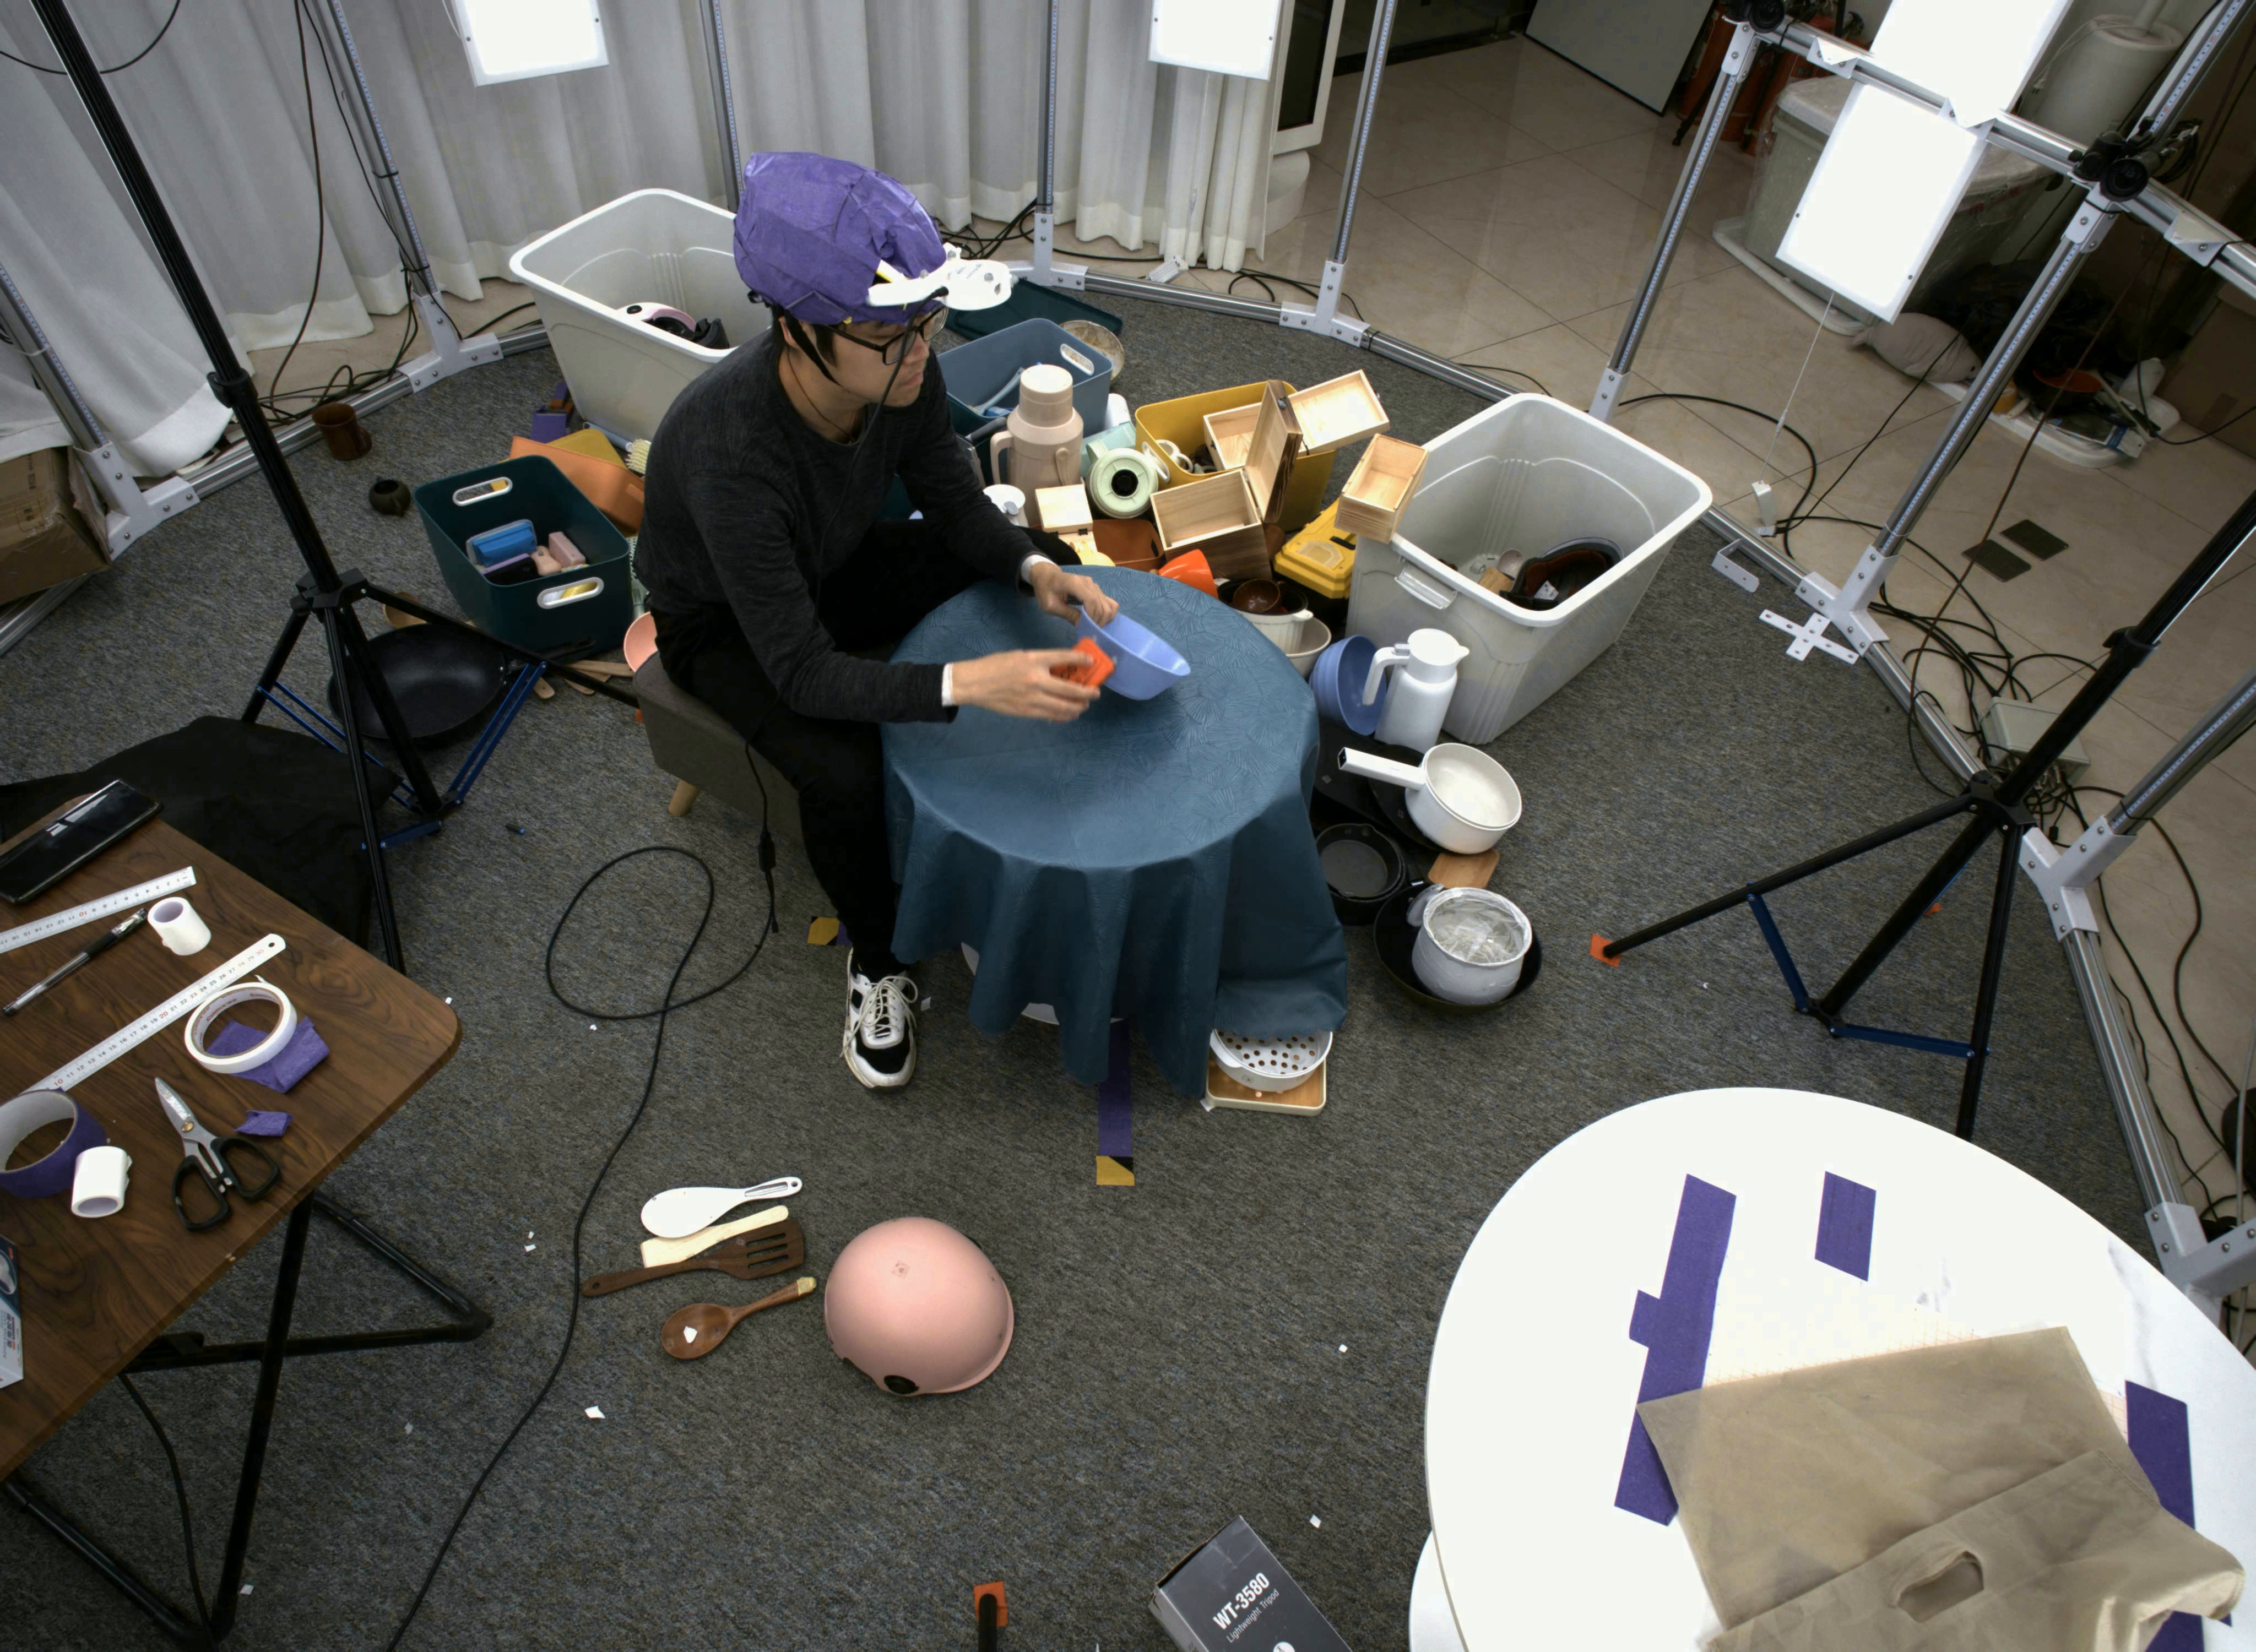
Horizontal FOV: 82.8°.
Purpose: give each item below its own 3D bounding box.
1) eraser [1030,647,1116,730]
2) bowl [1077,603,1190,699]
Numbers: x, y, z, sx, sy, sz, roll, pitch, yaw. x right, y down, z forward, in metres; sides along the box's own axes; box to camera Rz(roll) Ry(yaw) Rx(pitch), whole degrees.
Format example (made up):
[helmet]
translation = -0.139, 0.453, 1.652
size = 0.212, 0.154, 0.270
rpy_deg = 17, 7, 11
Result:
[eraser]
translation = -0.072, -0.179, 1.673
size = 0.108, 0.022, 0.059
rpy_deg = -43, 77, 4
[bowl]
translation = -0.005, -0.236, 1.788
size = 0.175, 0.069, 0.179
rpy_deg = 27, 21, -11
